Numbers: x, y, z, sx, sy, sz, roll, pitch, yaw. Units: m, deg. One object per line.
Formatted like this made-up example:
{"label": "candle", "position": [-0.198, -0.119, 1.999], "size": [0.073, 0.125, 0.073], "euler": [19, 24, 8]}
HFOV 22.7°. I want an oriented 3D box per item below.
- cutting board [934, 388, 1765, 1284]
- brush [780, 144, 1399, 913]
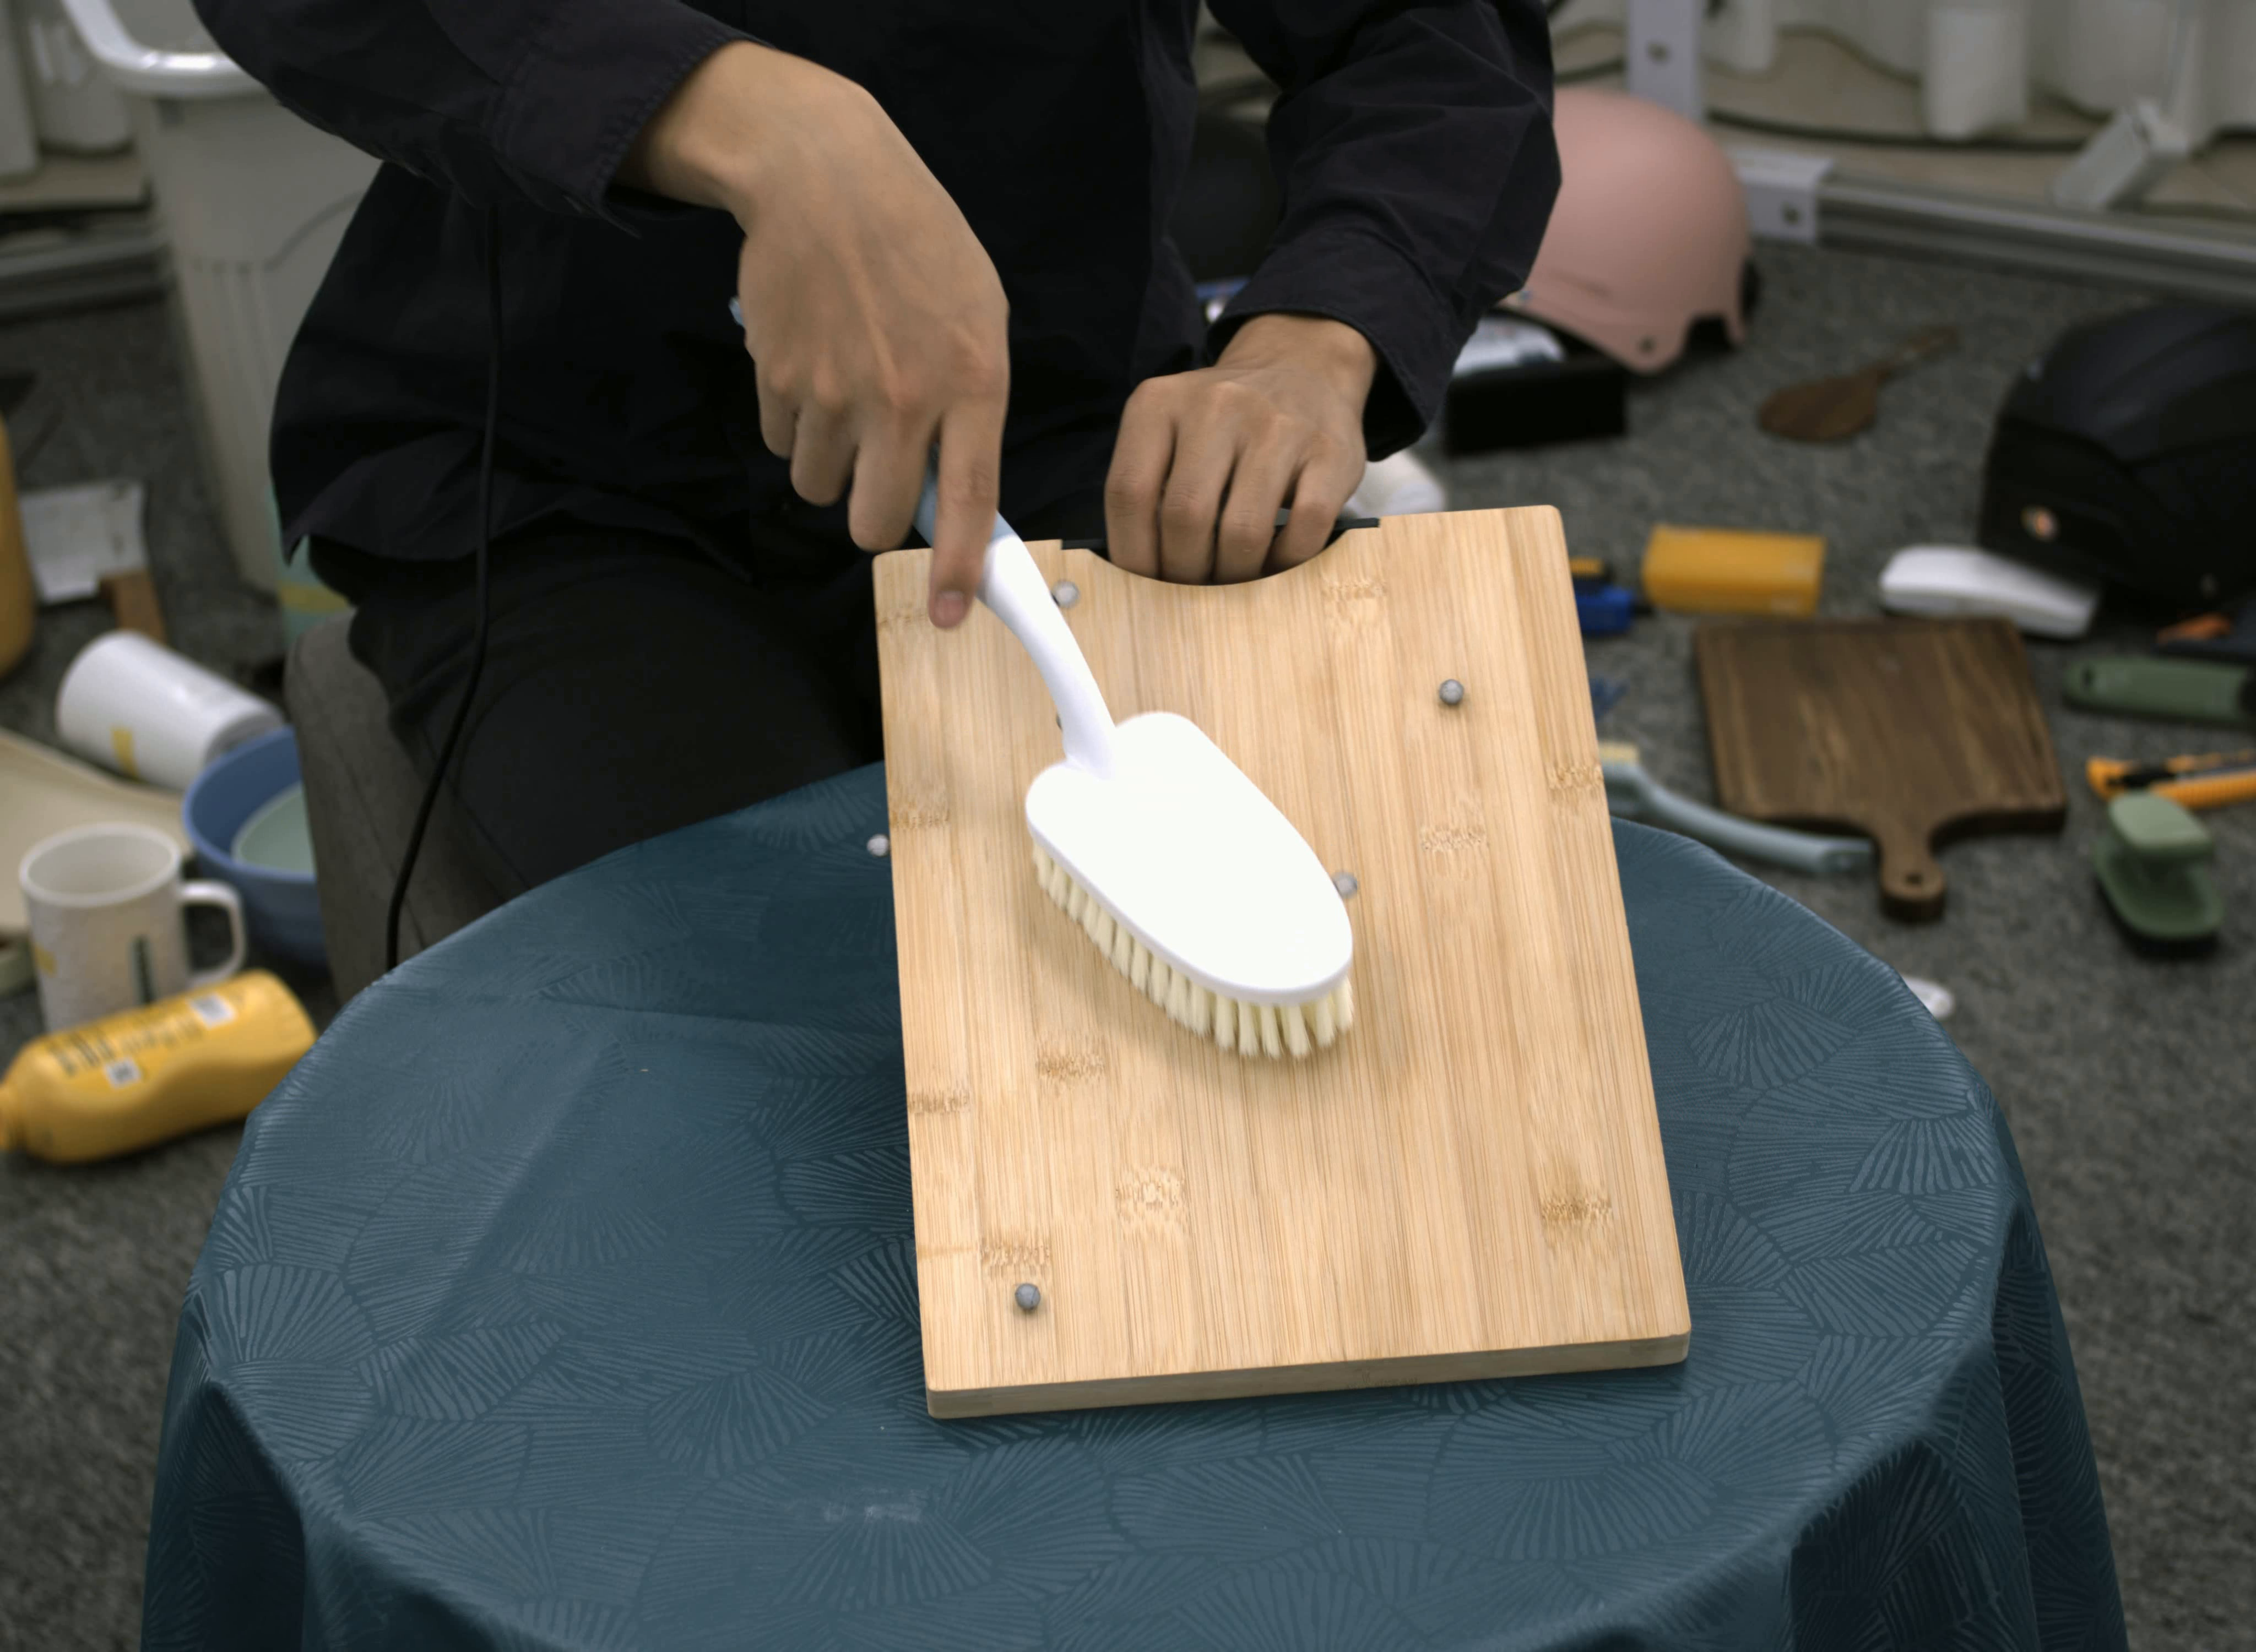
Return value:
{"label": "cutting board", "position": [0.066, -0.002, 1.867], "size": [0.250, 0.023, 0.355], "euler": [-5, 52, -4]}
{"label": "brush", "position": [-0.015, -0.096, 1.880], "size": [0.327, 0.083, 0.083], "euler": [51, 29, 19]}
